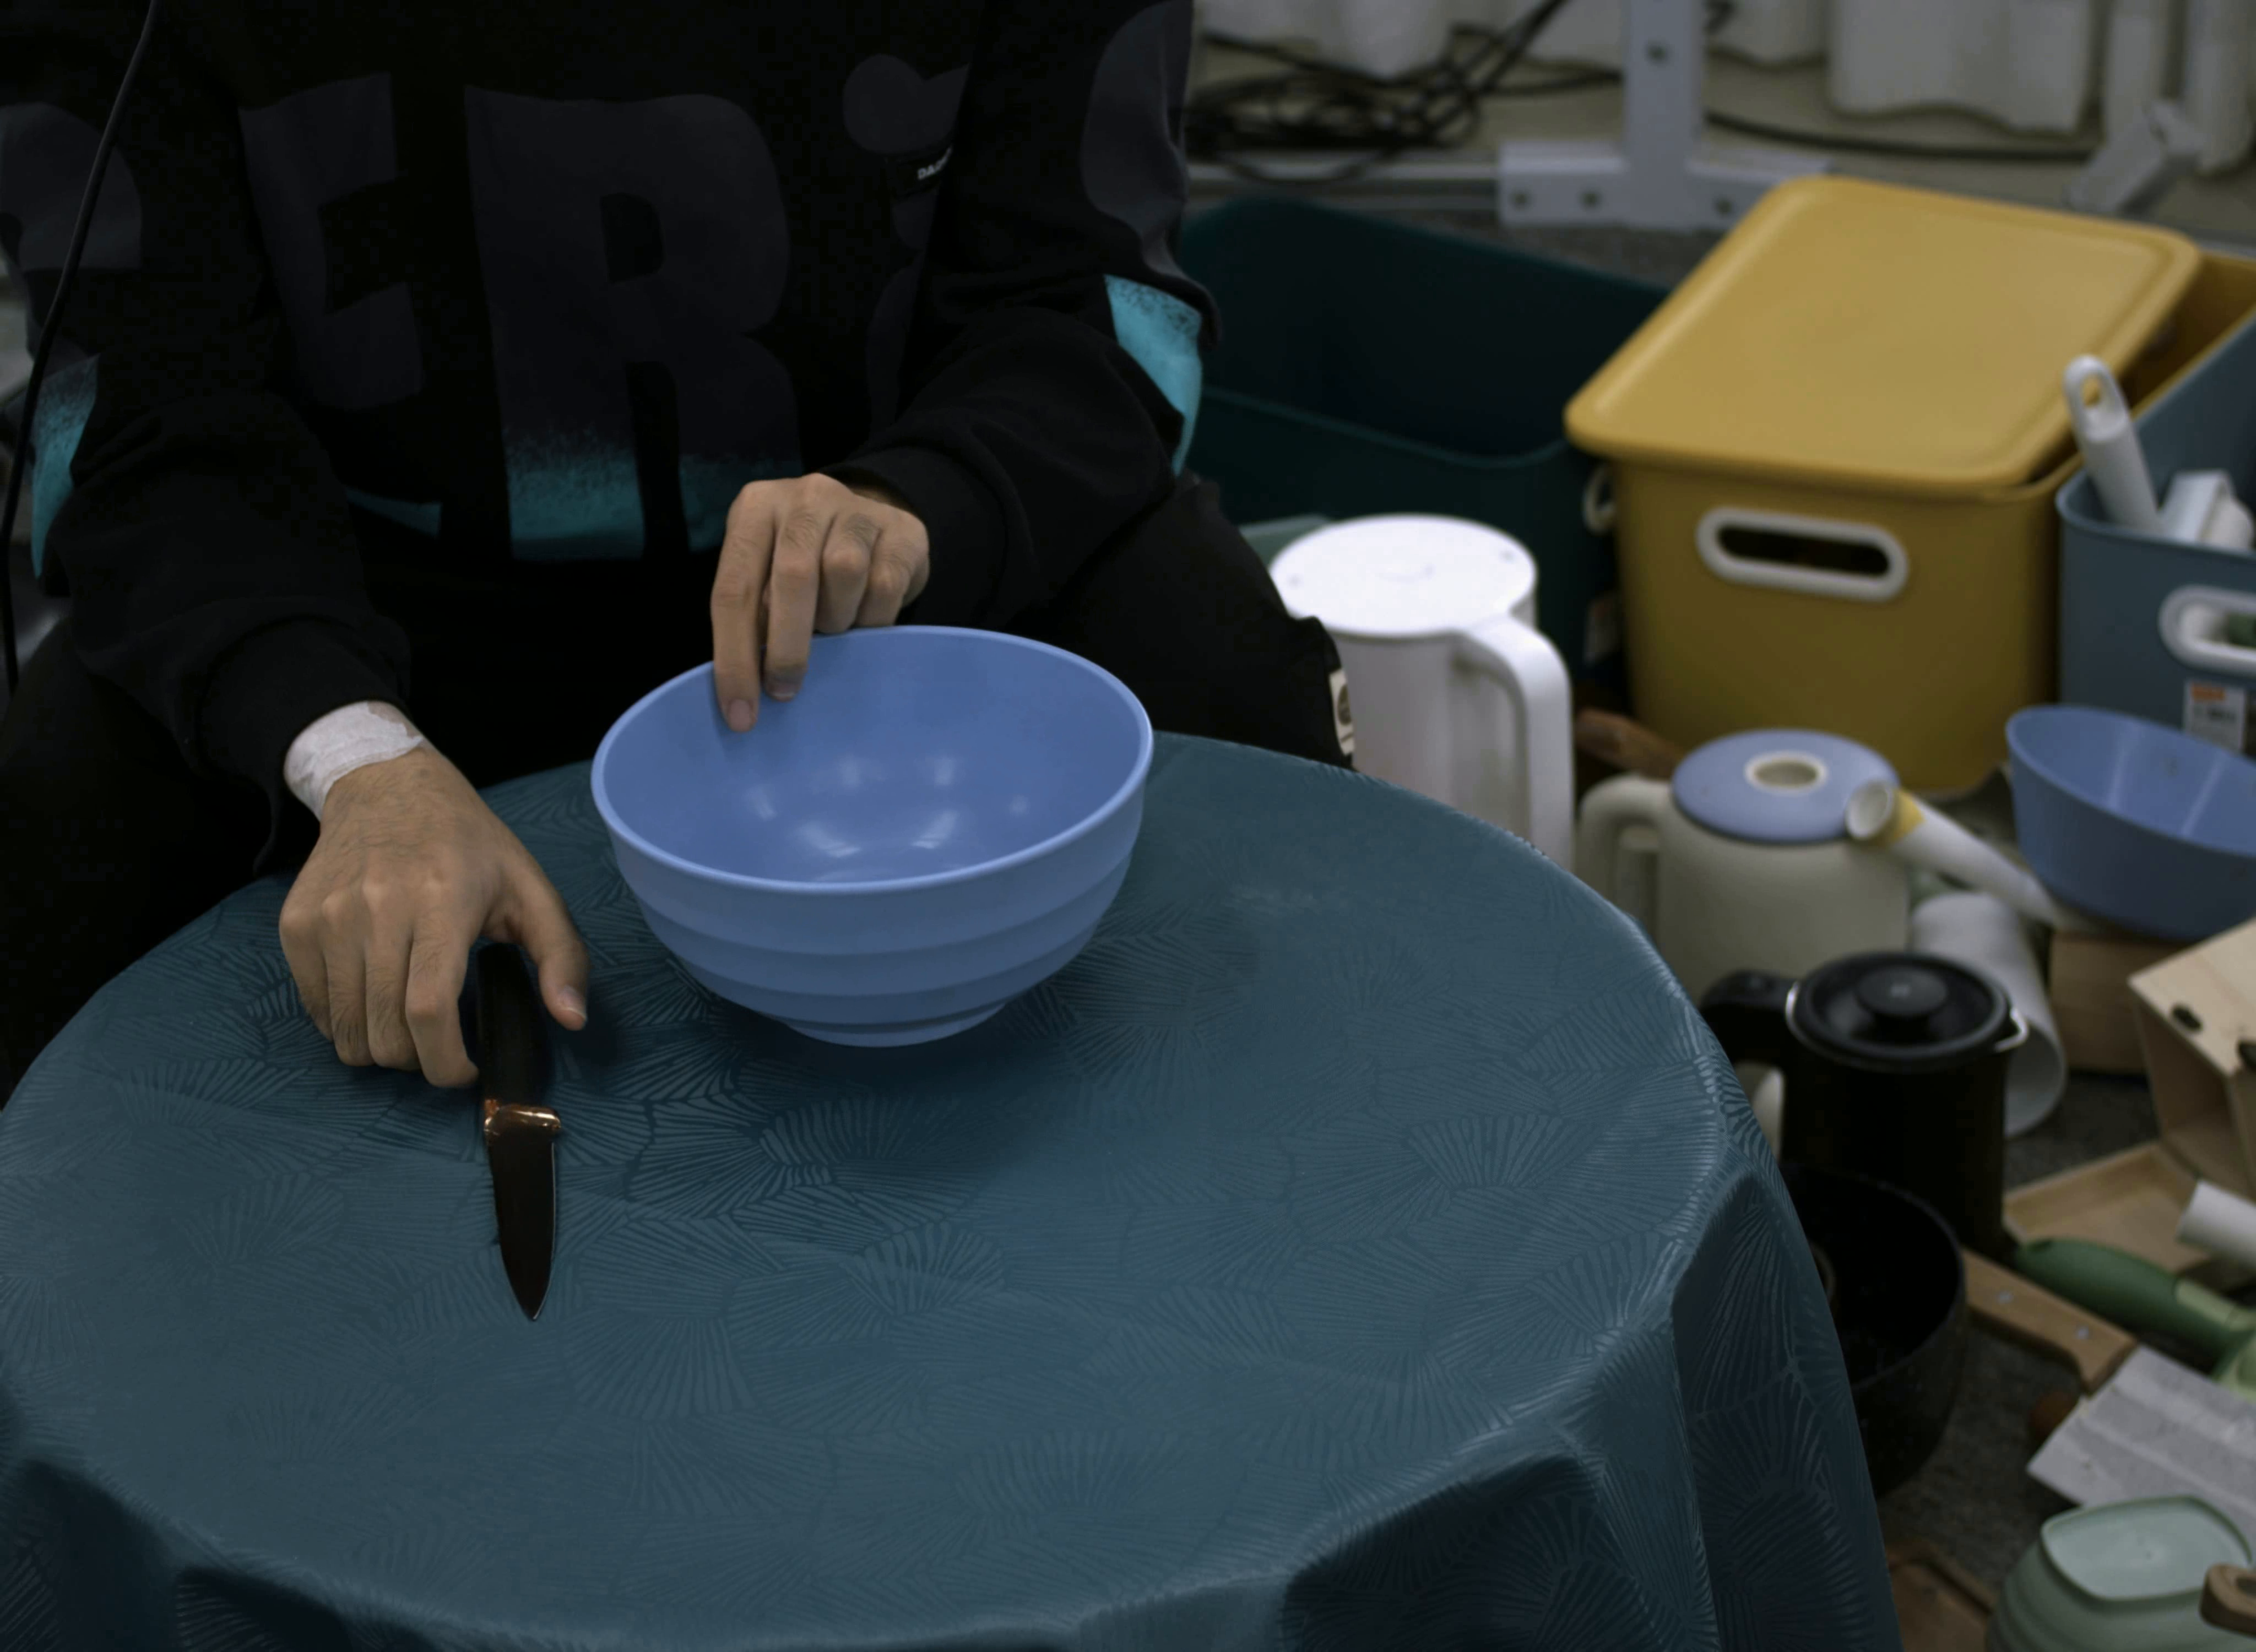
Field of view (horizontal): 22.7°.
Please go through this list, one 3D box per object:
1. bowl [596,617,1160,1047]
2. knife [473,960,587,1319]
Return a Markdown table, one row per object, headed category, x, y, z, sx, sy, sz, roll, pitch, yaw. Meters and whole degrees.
| category | x | y | z | sx | sy | sz | roll | pitch | yaw |
| --- | --- | --- | --- | --- | --- | --- | --- | --- | --- |
| bowl | -0.085 | 0.014 | 1.971 | 0.195 | 0.094 | 0.200 | -1 | 30 | 1 |
| knife | -0.204 | 0.105 | 1.902 | 0.026 | 0.017 | 0.228 | -2 | 28 | -10 |
